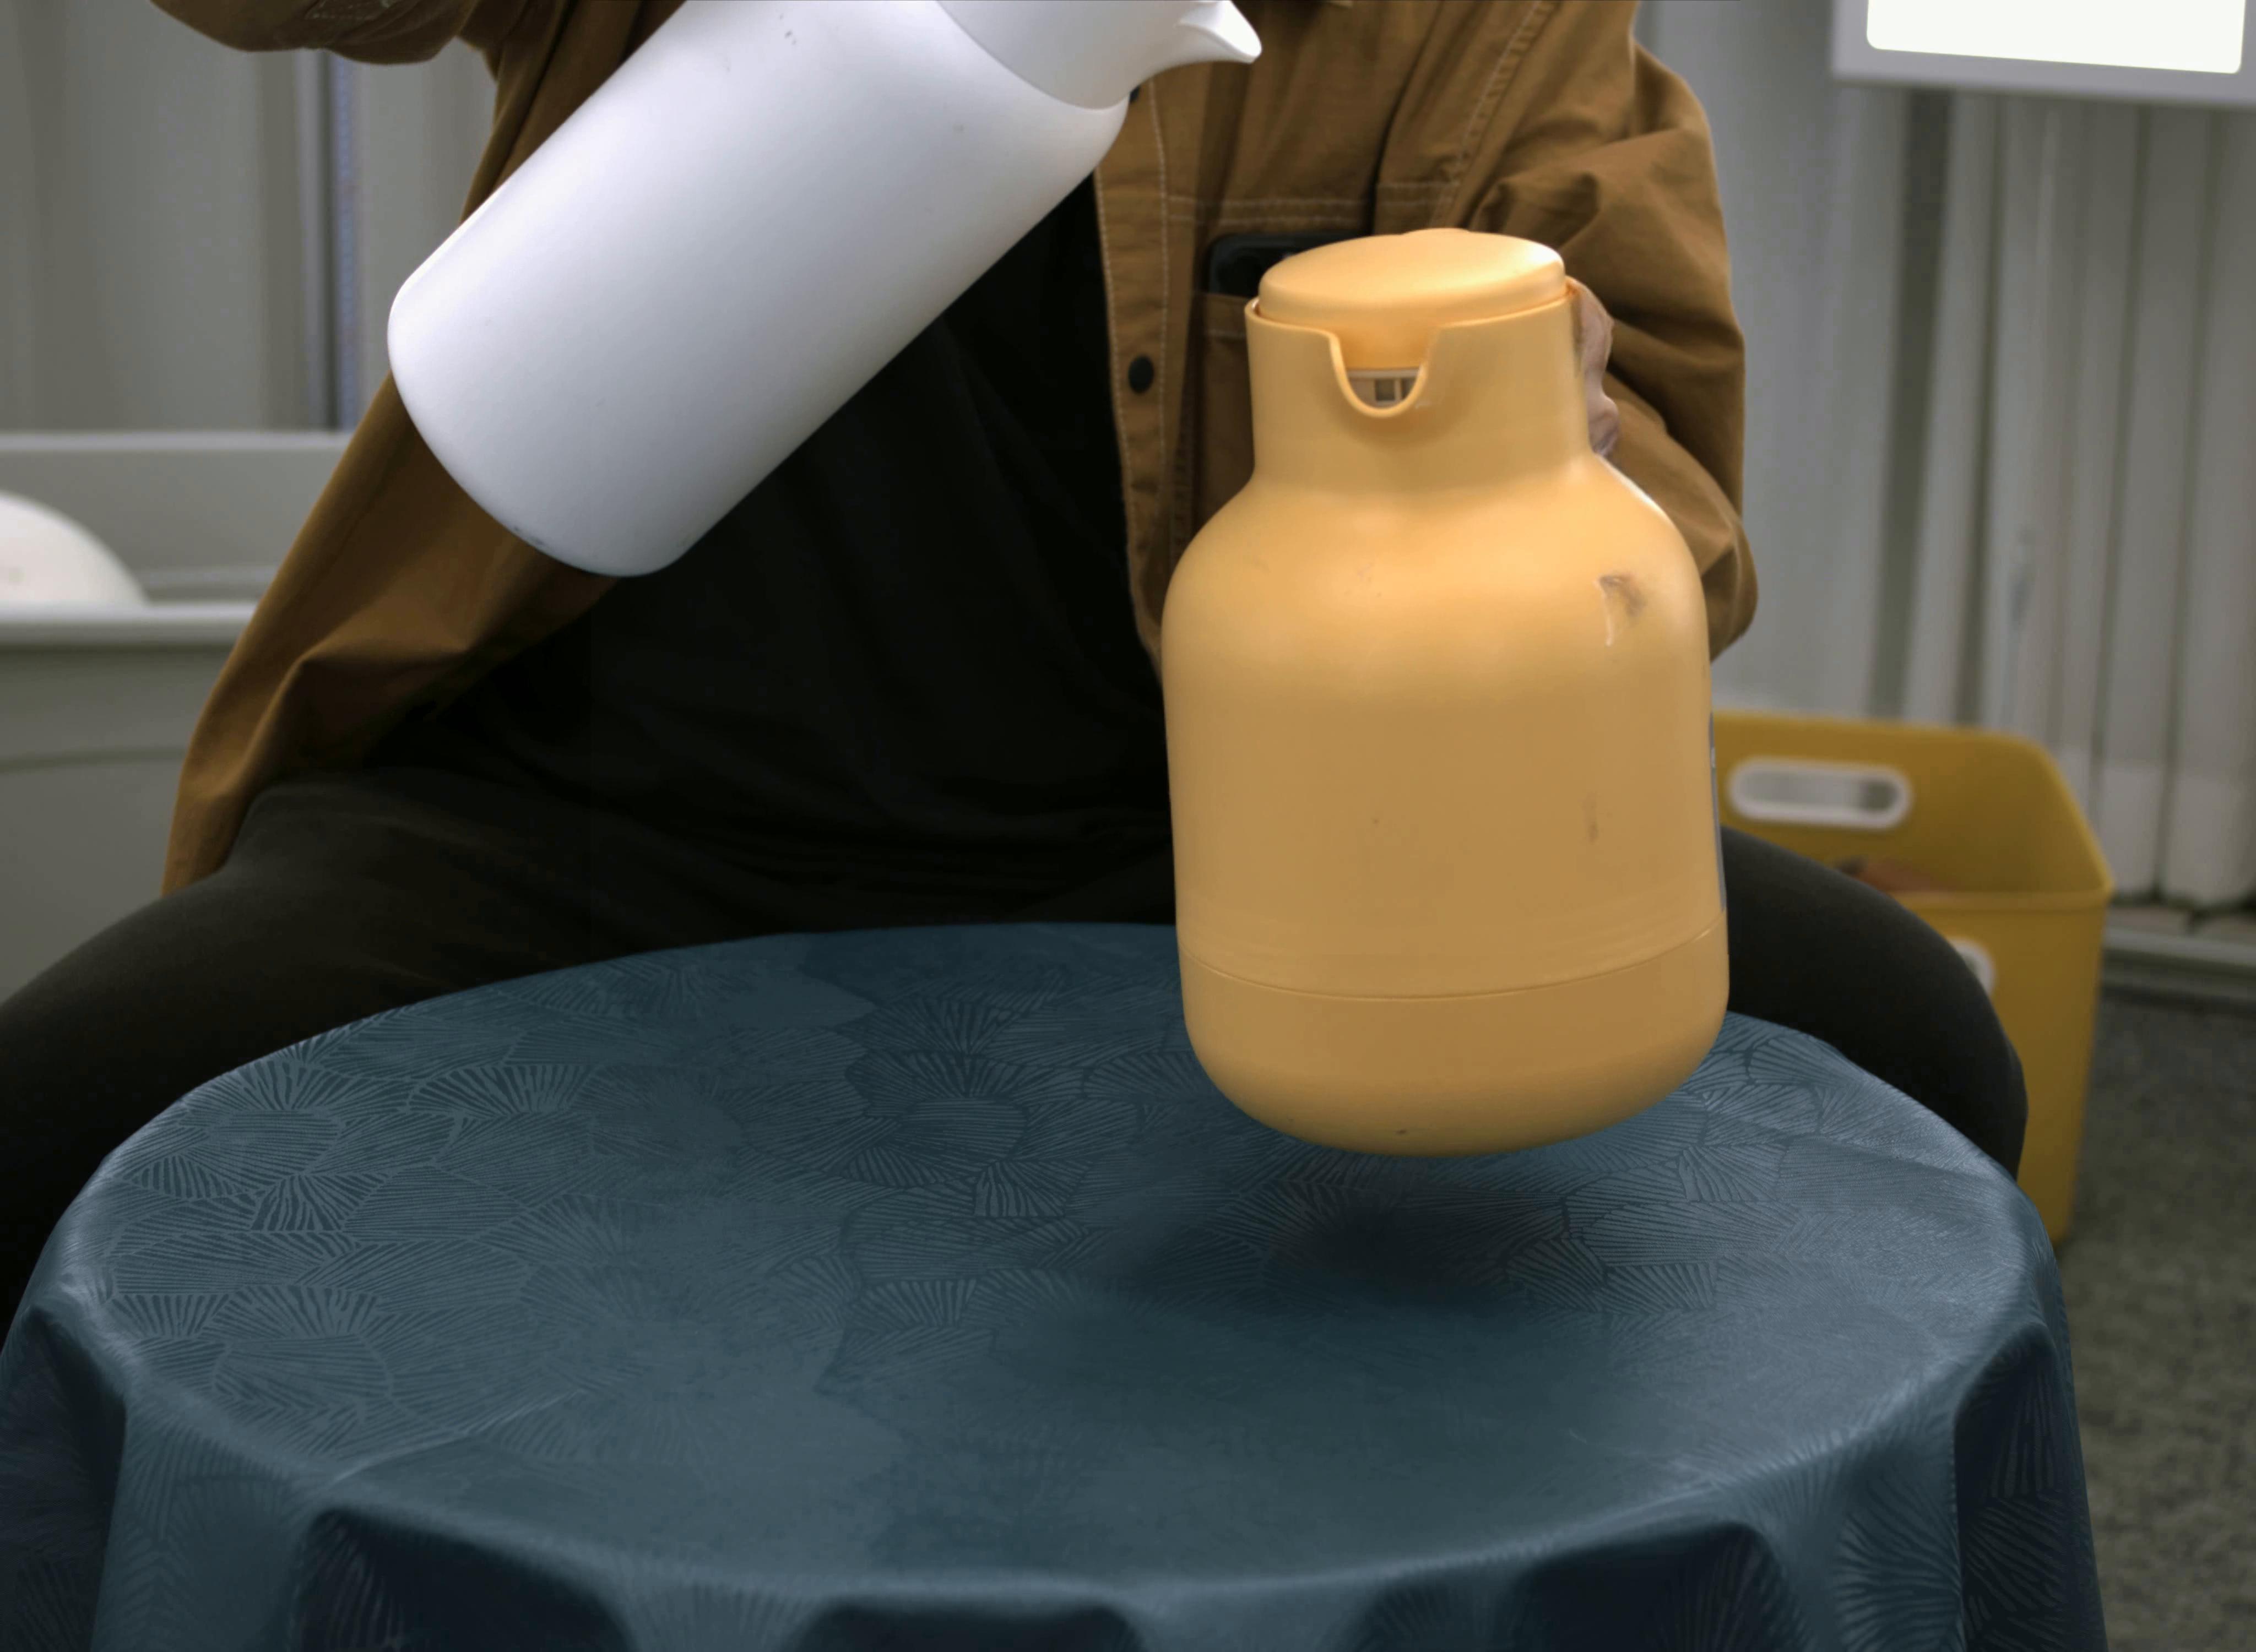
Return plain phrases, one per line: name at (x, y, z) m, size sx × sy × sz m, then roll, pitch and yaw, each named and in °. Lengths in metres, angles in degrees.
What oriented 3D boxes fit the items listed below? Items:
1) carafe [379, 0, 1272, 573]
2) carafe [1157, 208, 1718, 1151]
carafe at (-0.108, -0.207, 1.529) m, size 0.174 × 0.268 × 0.123 m, roll 42°, pitch 30°, yaw -14°
carafe at (0.095, -0.051, 1.556) m, size 0.162 × 0.263 × 0.202 m, roll 2°, pitch 19°, yaw 13°
